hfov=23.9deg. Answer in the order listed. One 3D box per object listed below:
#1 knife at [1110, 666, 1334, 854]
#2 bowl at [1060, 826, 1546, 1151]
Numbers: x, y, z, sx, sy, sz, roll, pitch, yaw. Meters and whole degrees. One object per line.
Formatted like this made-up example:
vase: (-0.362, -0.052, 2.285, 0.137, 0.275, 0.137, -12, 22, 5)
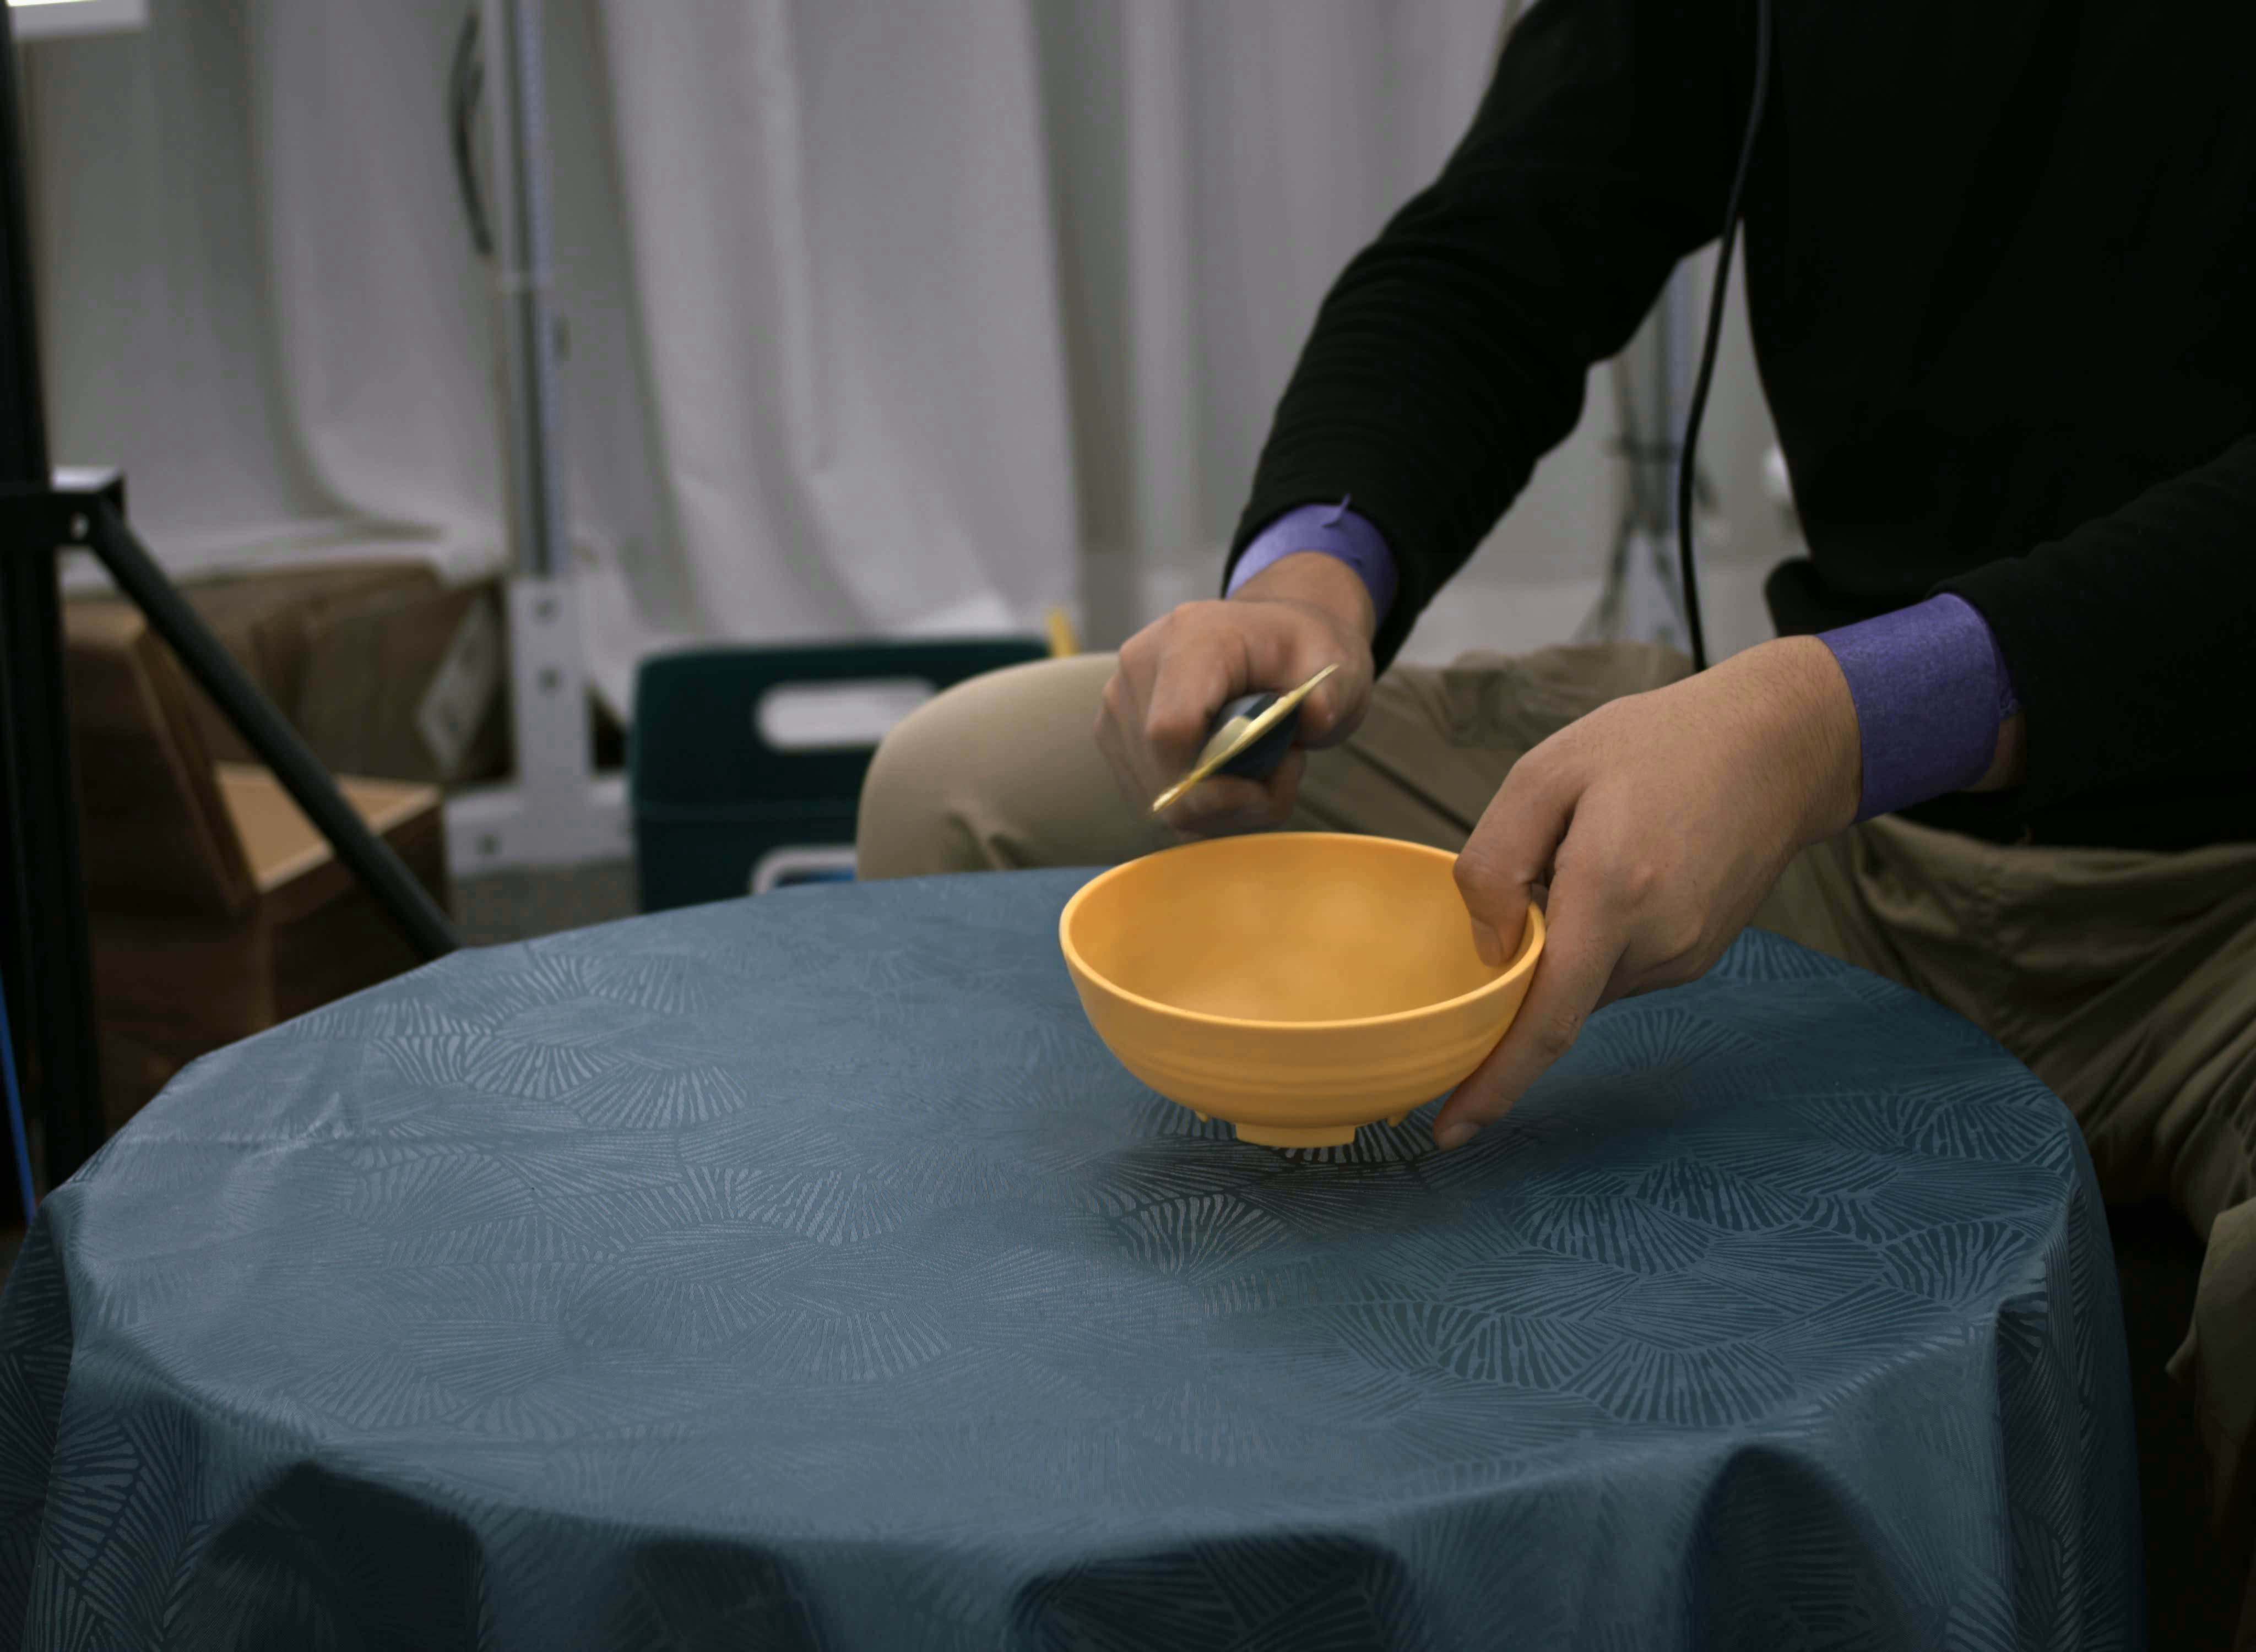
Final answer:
knife: (0.028, -0.016, 1.641, 0.081, 0.027, 0.289, -36, -3, -2)
bowl: (0.051, 0.056, 1.577, 0.144, 0.060, 0.146, 0, 23, -1)
